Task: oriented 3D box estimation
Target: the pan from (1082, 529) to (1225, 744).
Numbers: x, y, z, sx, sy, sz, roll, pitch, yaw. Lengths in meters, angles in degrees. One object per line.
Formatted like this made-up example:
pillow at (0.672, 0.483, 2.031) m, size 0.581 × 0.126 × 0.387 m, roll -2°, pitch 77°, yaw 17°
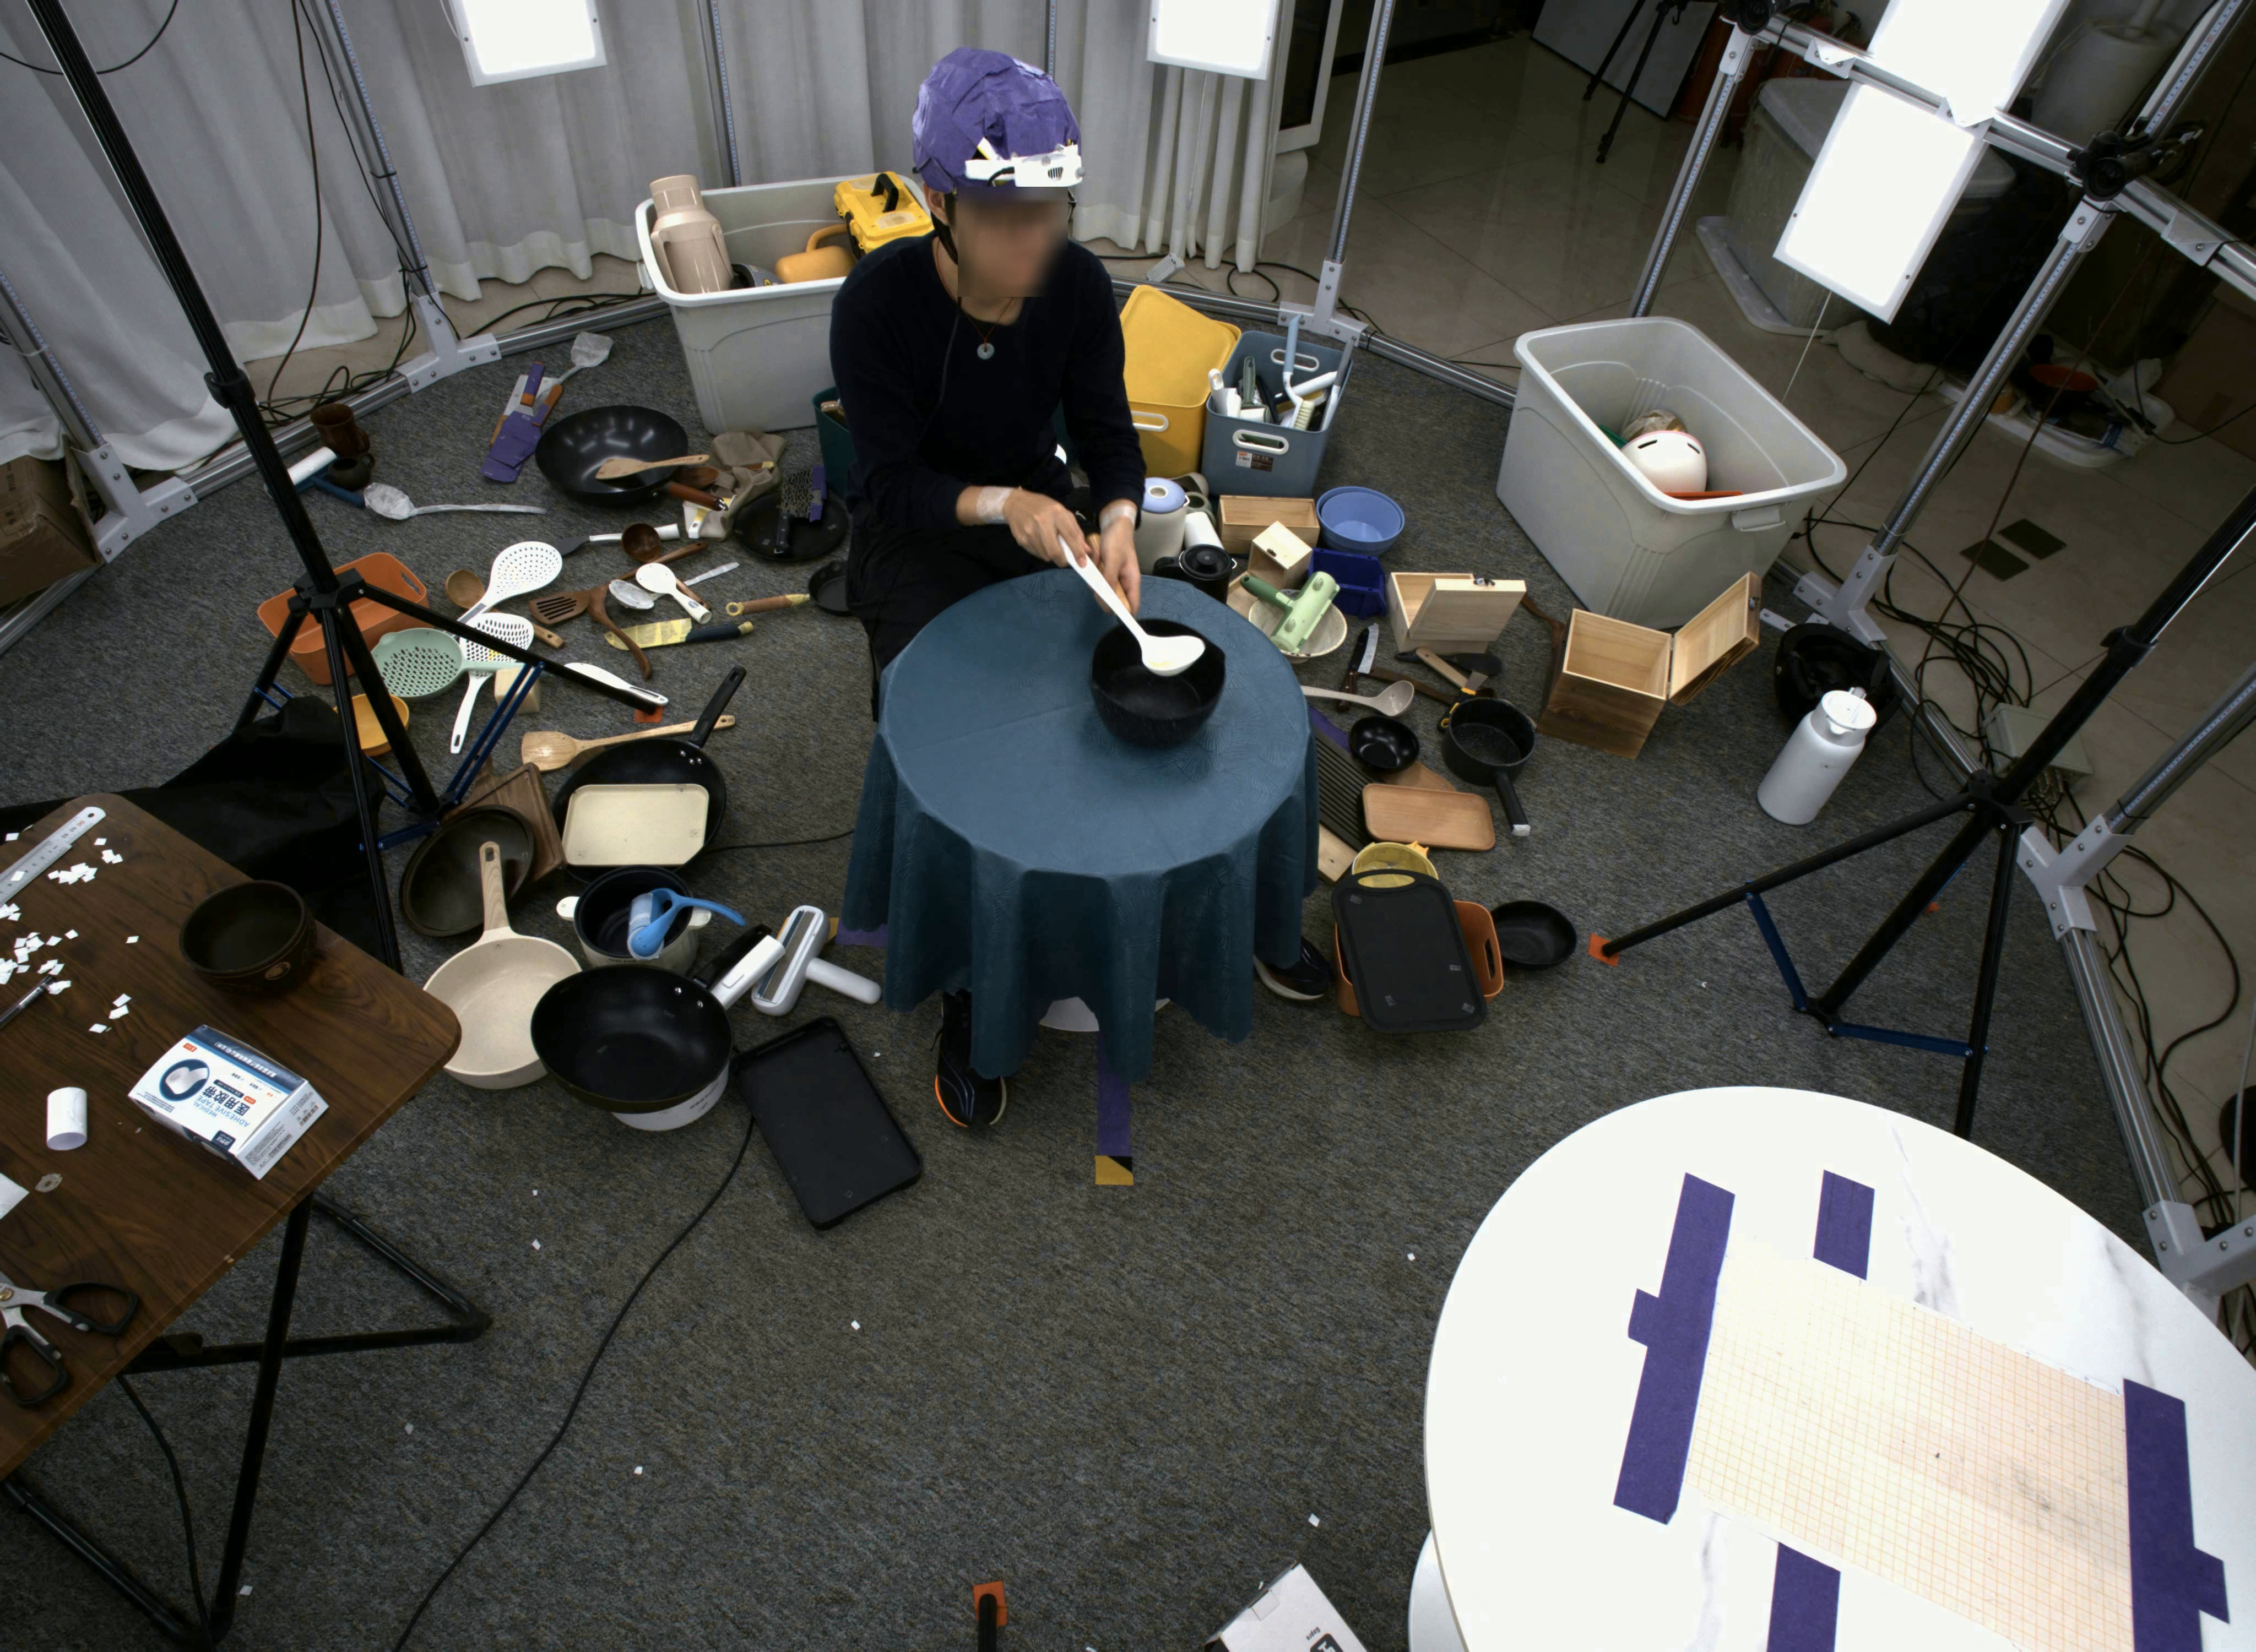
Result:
pan at (0.003, -0.265, 1.805) m, size 0.207 × 0.106 × 0.350 m, roll -15°, pitch 58°, yaw -19°

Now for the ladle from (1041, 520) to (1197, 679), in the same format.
ladle at (-0.020, -0.316, 1.766) m, size 0.090 × 0.069 × 0.296 m, roll -34°, pitch 75°, yaw -18°
